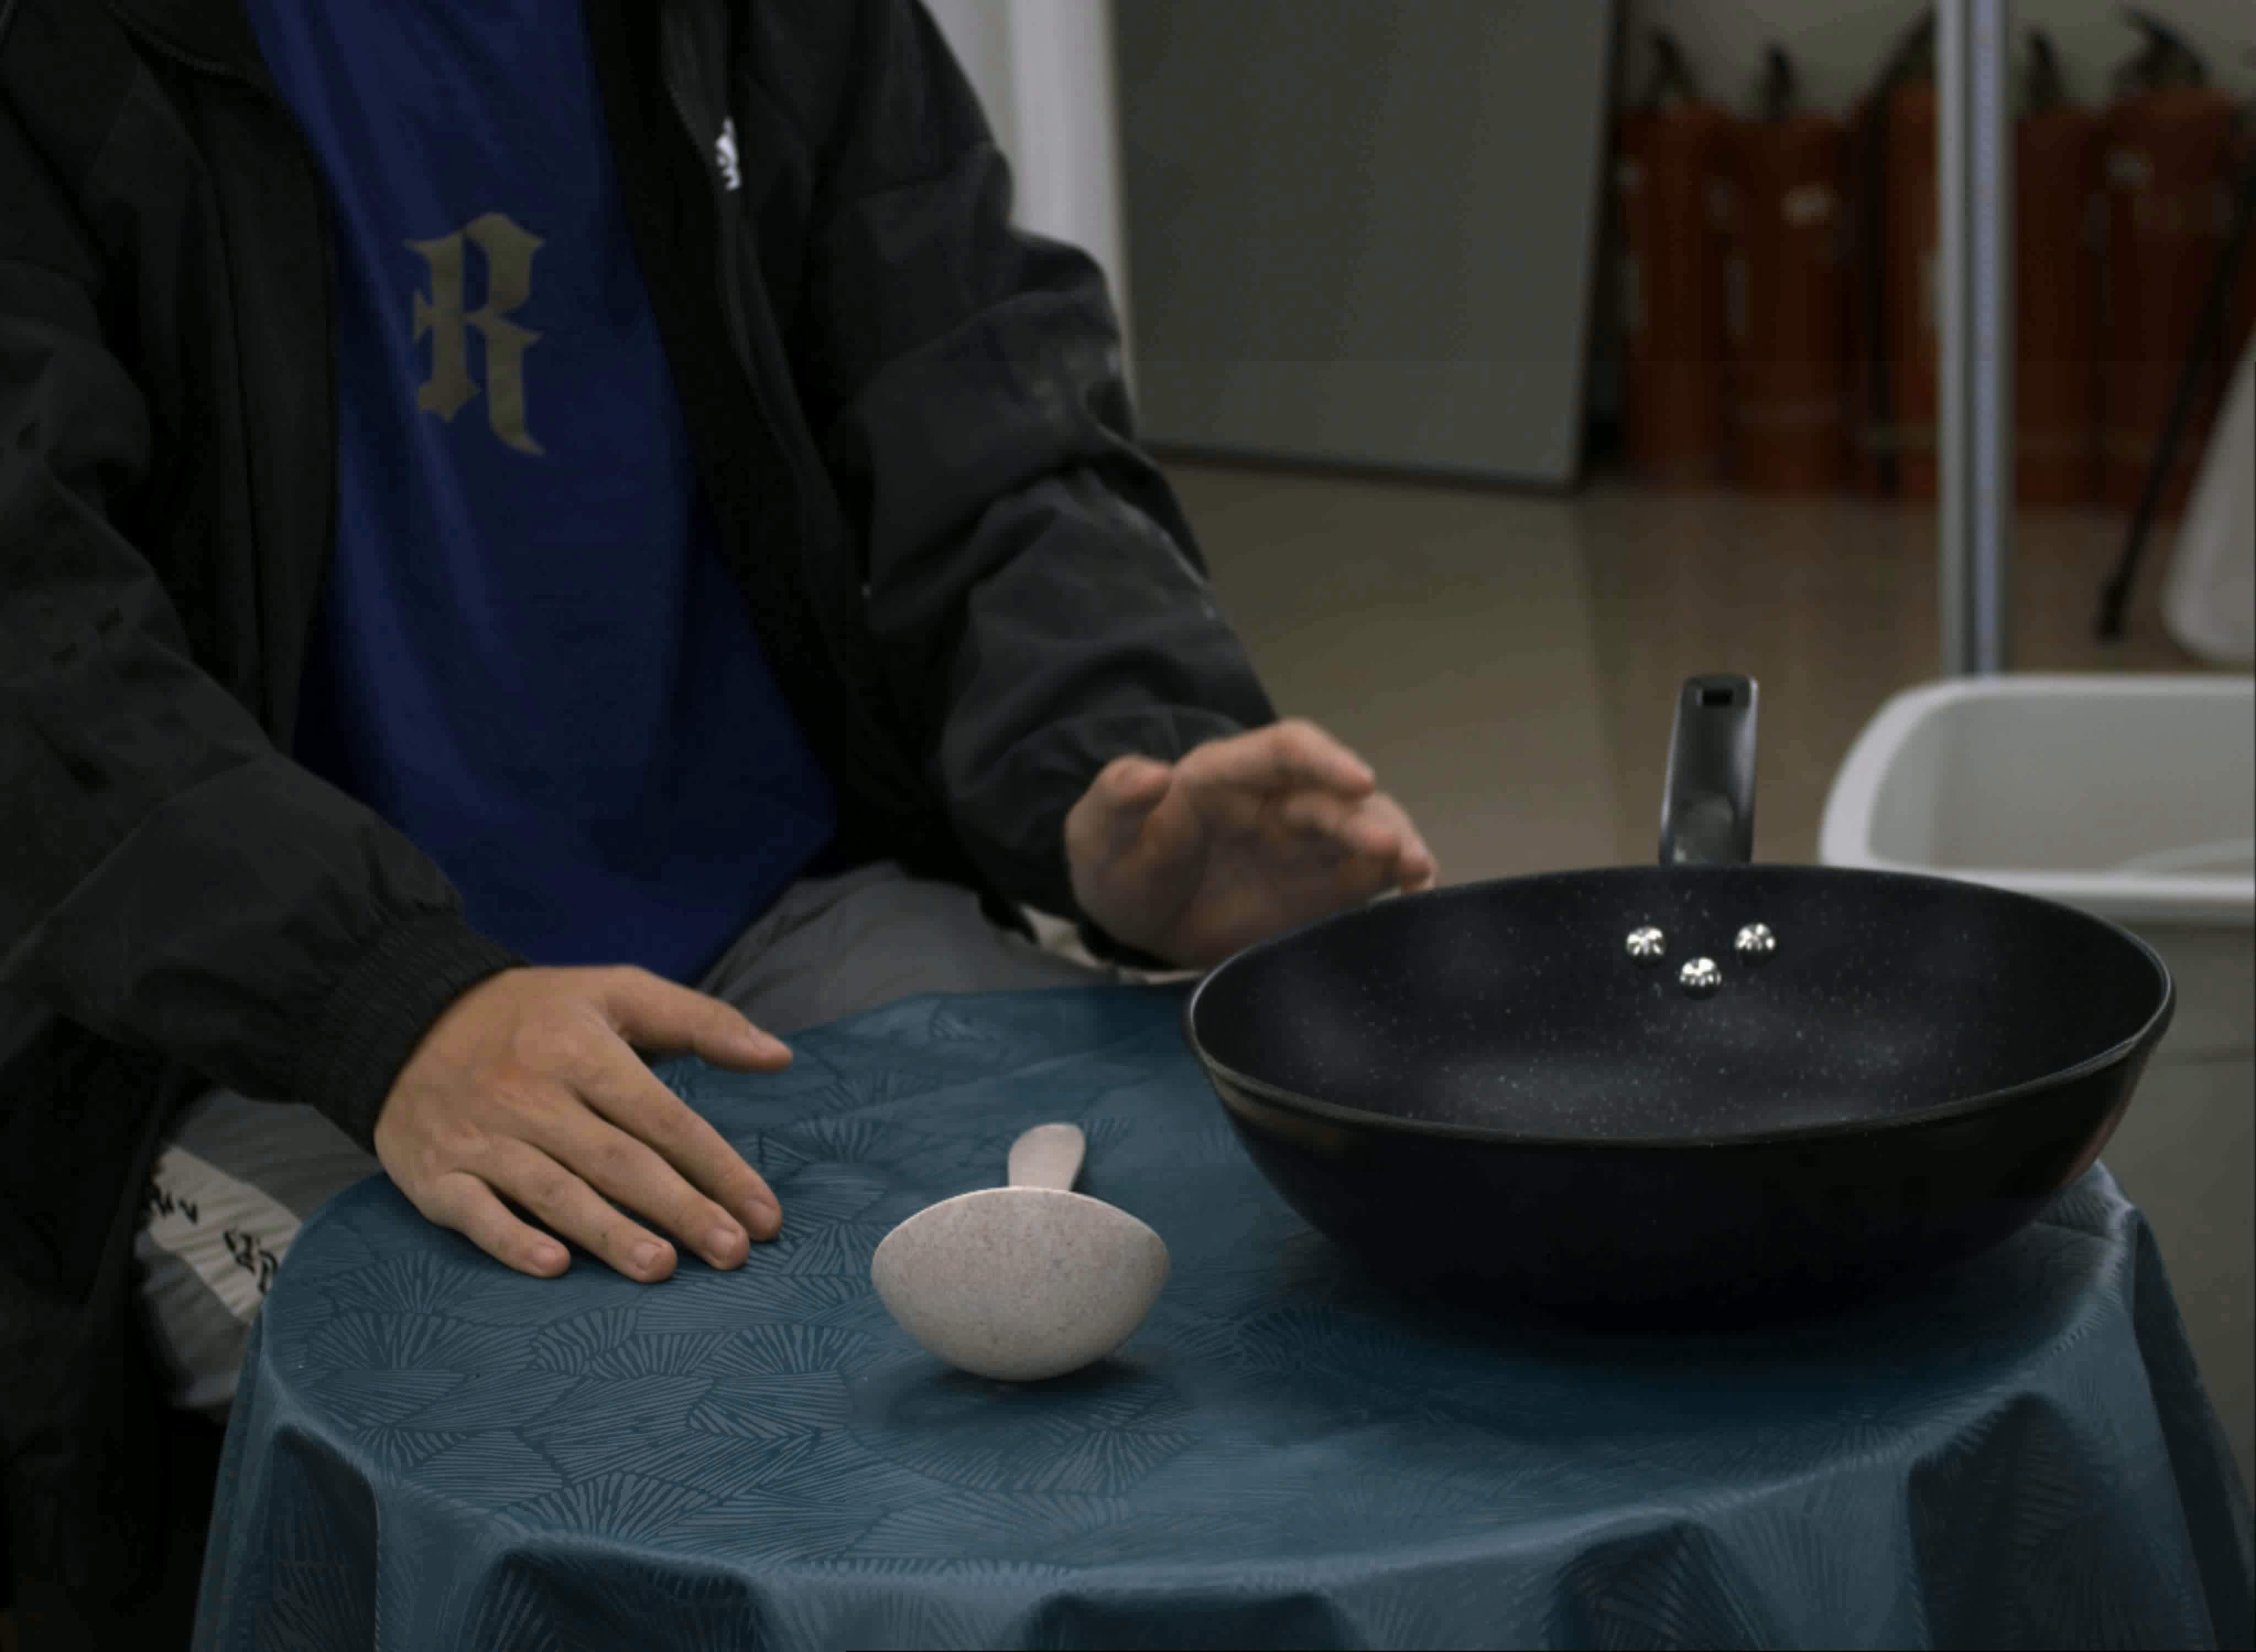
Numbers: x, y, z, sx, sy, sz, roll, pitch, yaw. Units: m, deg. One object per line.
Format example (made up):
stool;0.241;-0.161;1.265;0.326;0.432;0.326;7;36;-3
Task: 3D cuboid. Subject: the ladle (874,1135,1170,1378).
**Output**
ladle;-0.032;0.106;1.696;0.088;0.070;0.275;-11;12;2

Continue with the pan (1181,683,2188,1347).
pan;0.183;0.061;1.740;0.308;0.113;0.475;0;14;9
